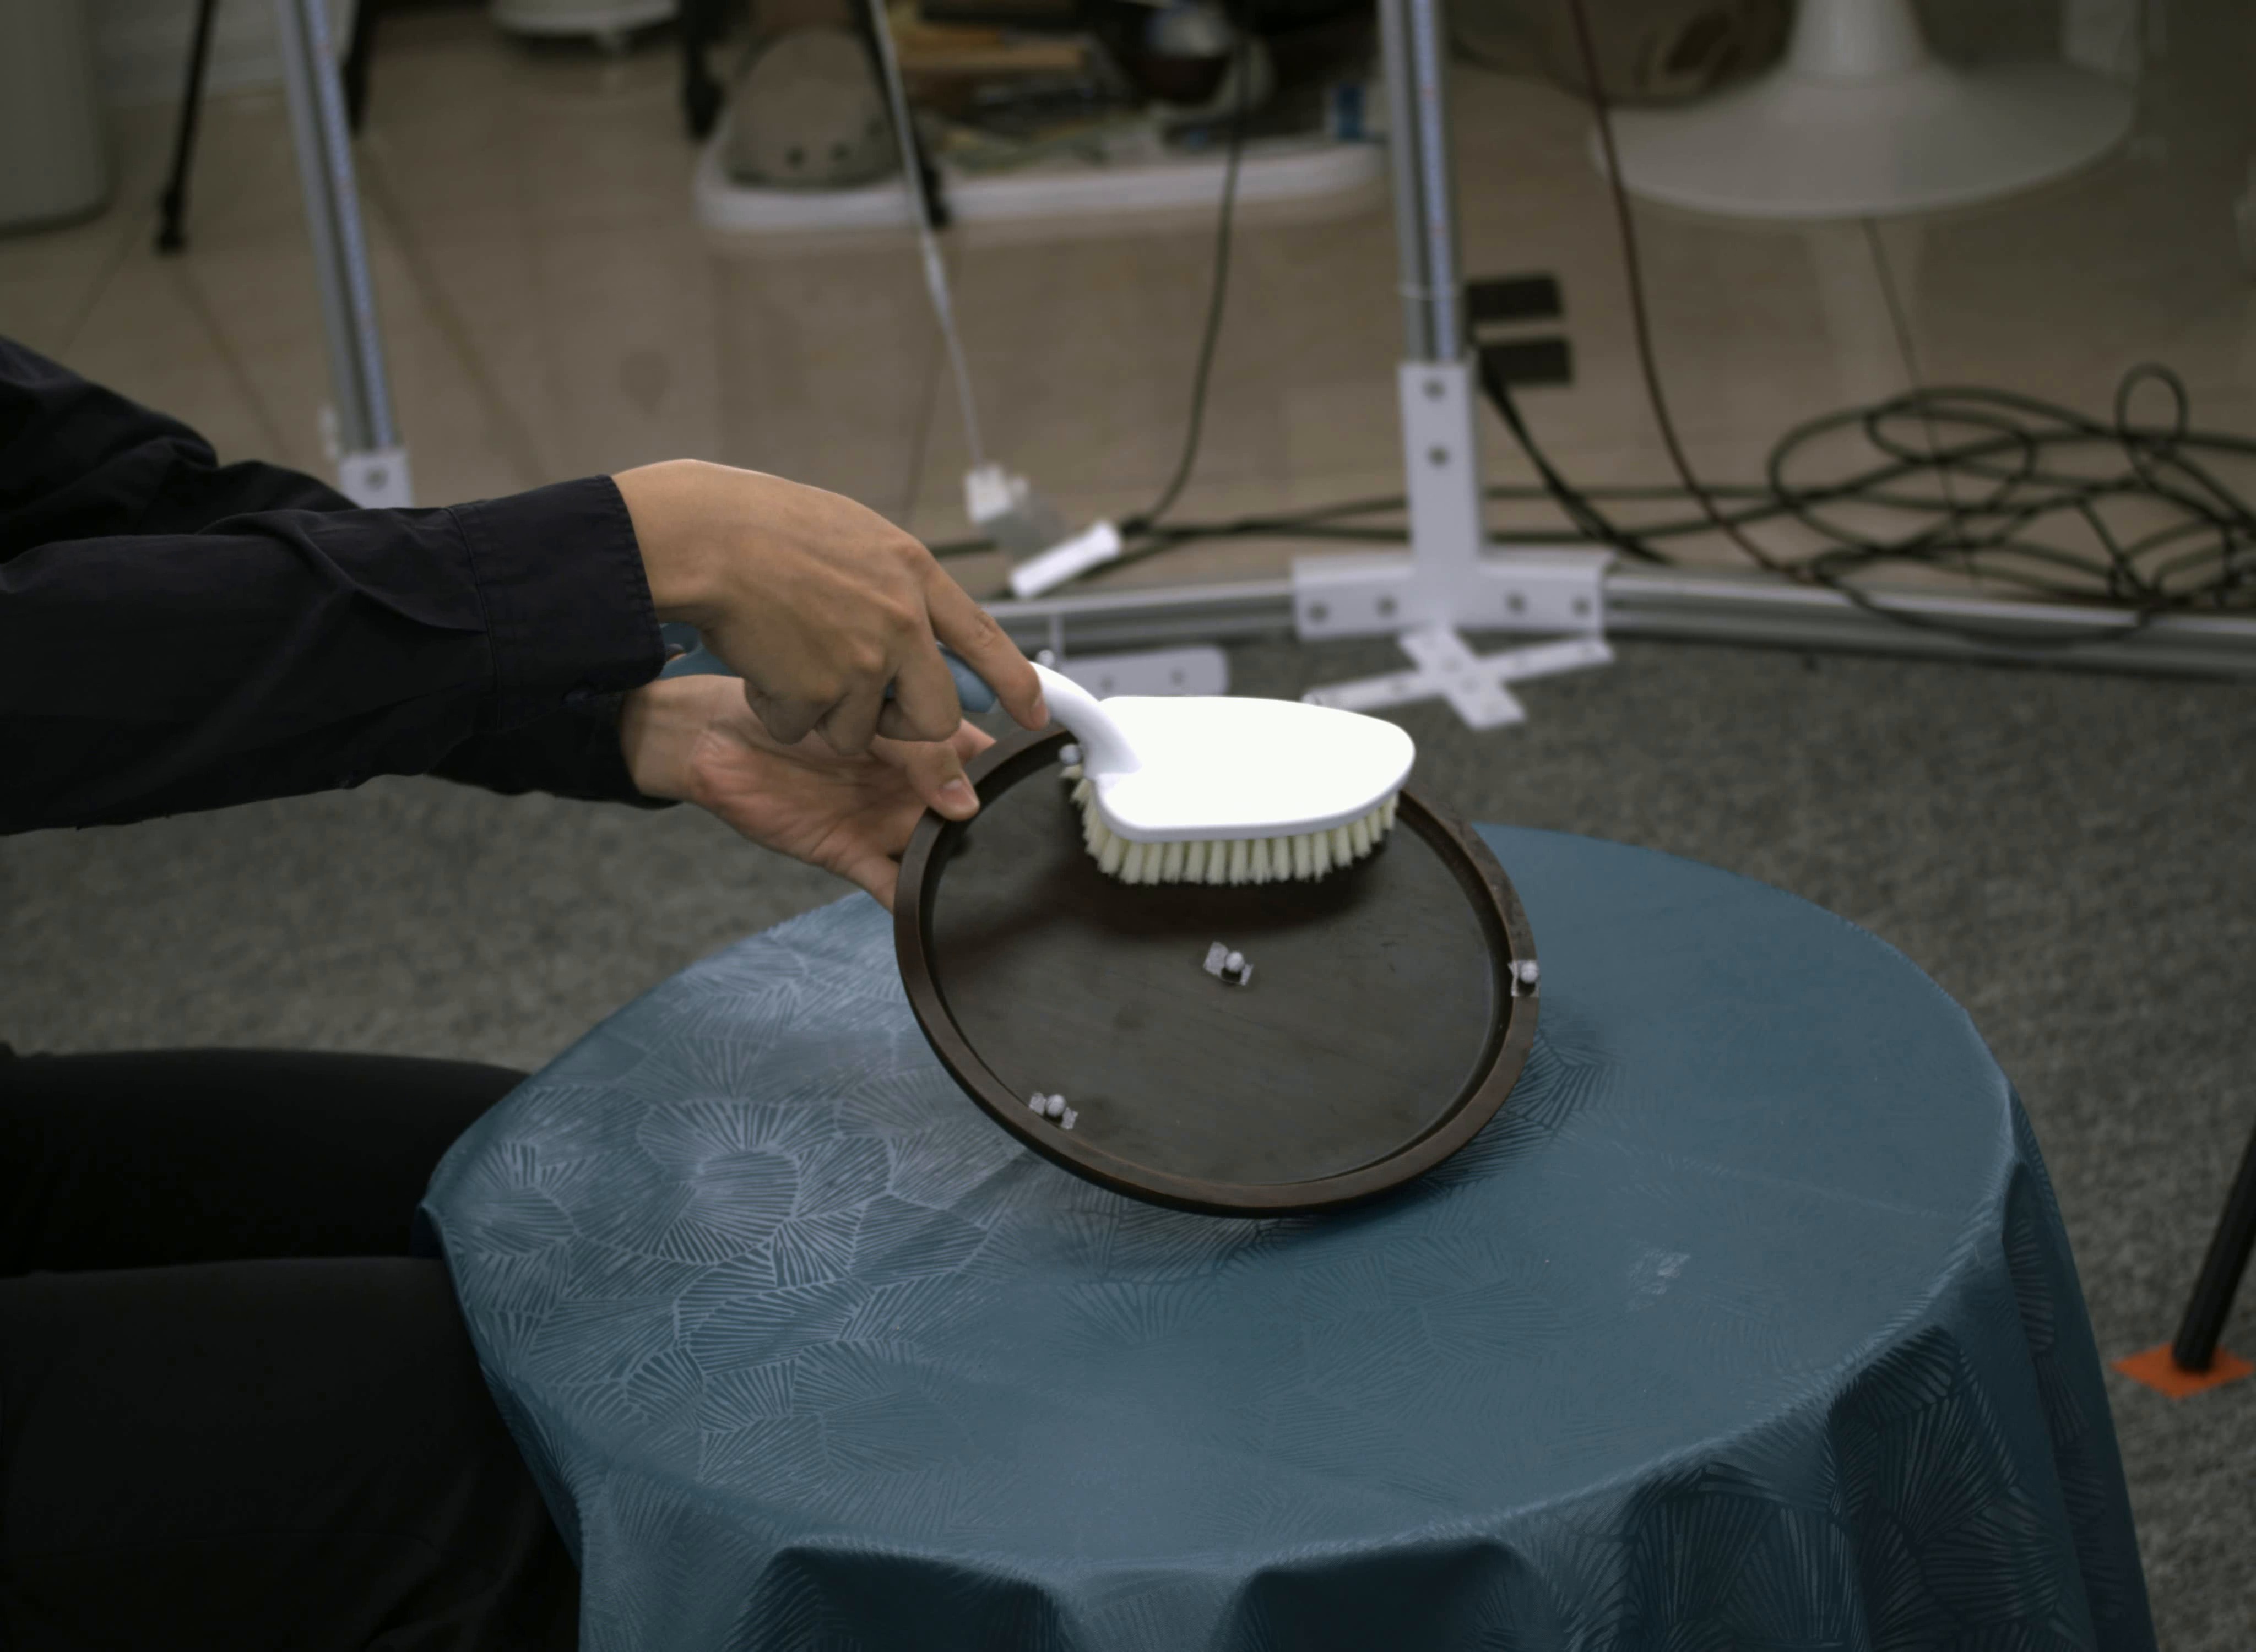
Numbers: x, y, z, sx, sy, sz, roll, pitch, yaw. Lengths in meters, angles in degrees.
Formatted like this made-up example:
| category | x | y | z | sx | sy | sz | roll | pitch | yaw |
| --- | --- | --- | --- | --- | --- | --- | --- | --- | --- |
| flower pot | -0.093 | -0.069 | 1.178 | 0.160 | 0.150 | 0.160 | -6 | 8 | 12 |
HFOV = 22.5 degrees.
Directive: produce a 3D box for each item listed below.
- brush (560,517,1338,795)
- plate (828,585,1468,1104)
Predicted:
| category | x | y | z | sx | sy | sz | roll | pitch | yaw |
| --- | --- | --- | --- | --- | --- | --- | --- | --- | --- |
| brush | -0.074 | -0.064 | 2.186 | 0.326 | 0.085 | 0.082 | 8 | 12 | -24 |
| plate | 0.007 | 0.006 | 2.204 | 0.254 | 0.029 | 0.250 | 6 | 52 | -8 |
